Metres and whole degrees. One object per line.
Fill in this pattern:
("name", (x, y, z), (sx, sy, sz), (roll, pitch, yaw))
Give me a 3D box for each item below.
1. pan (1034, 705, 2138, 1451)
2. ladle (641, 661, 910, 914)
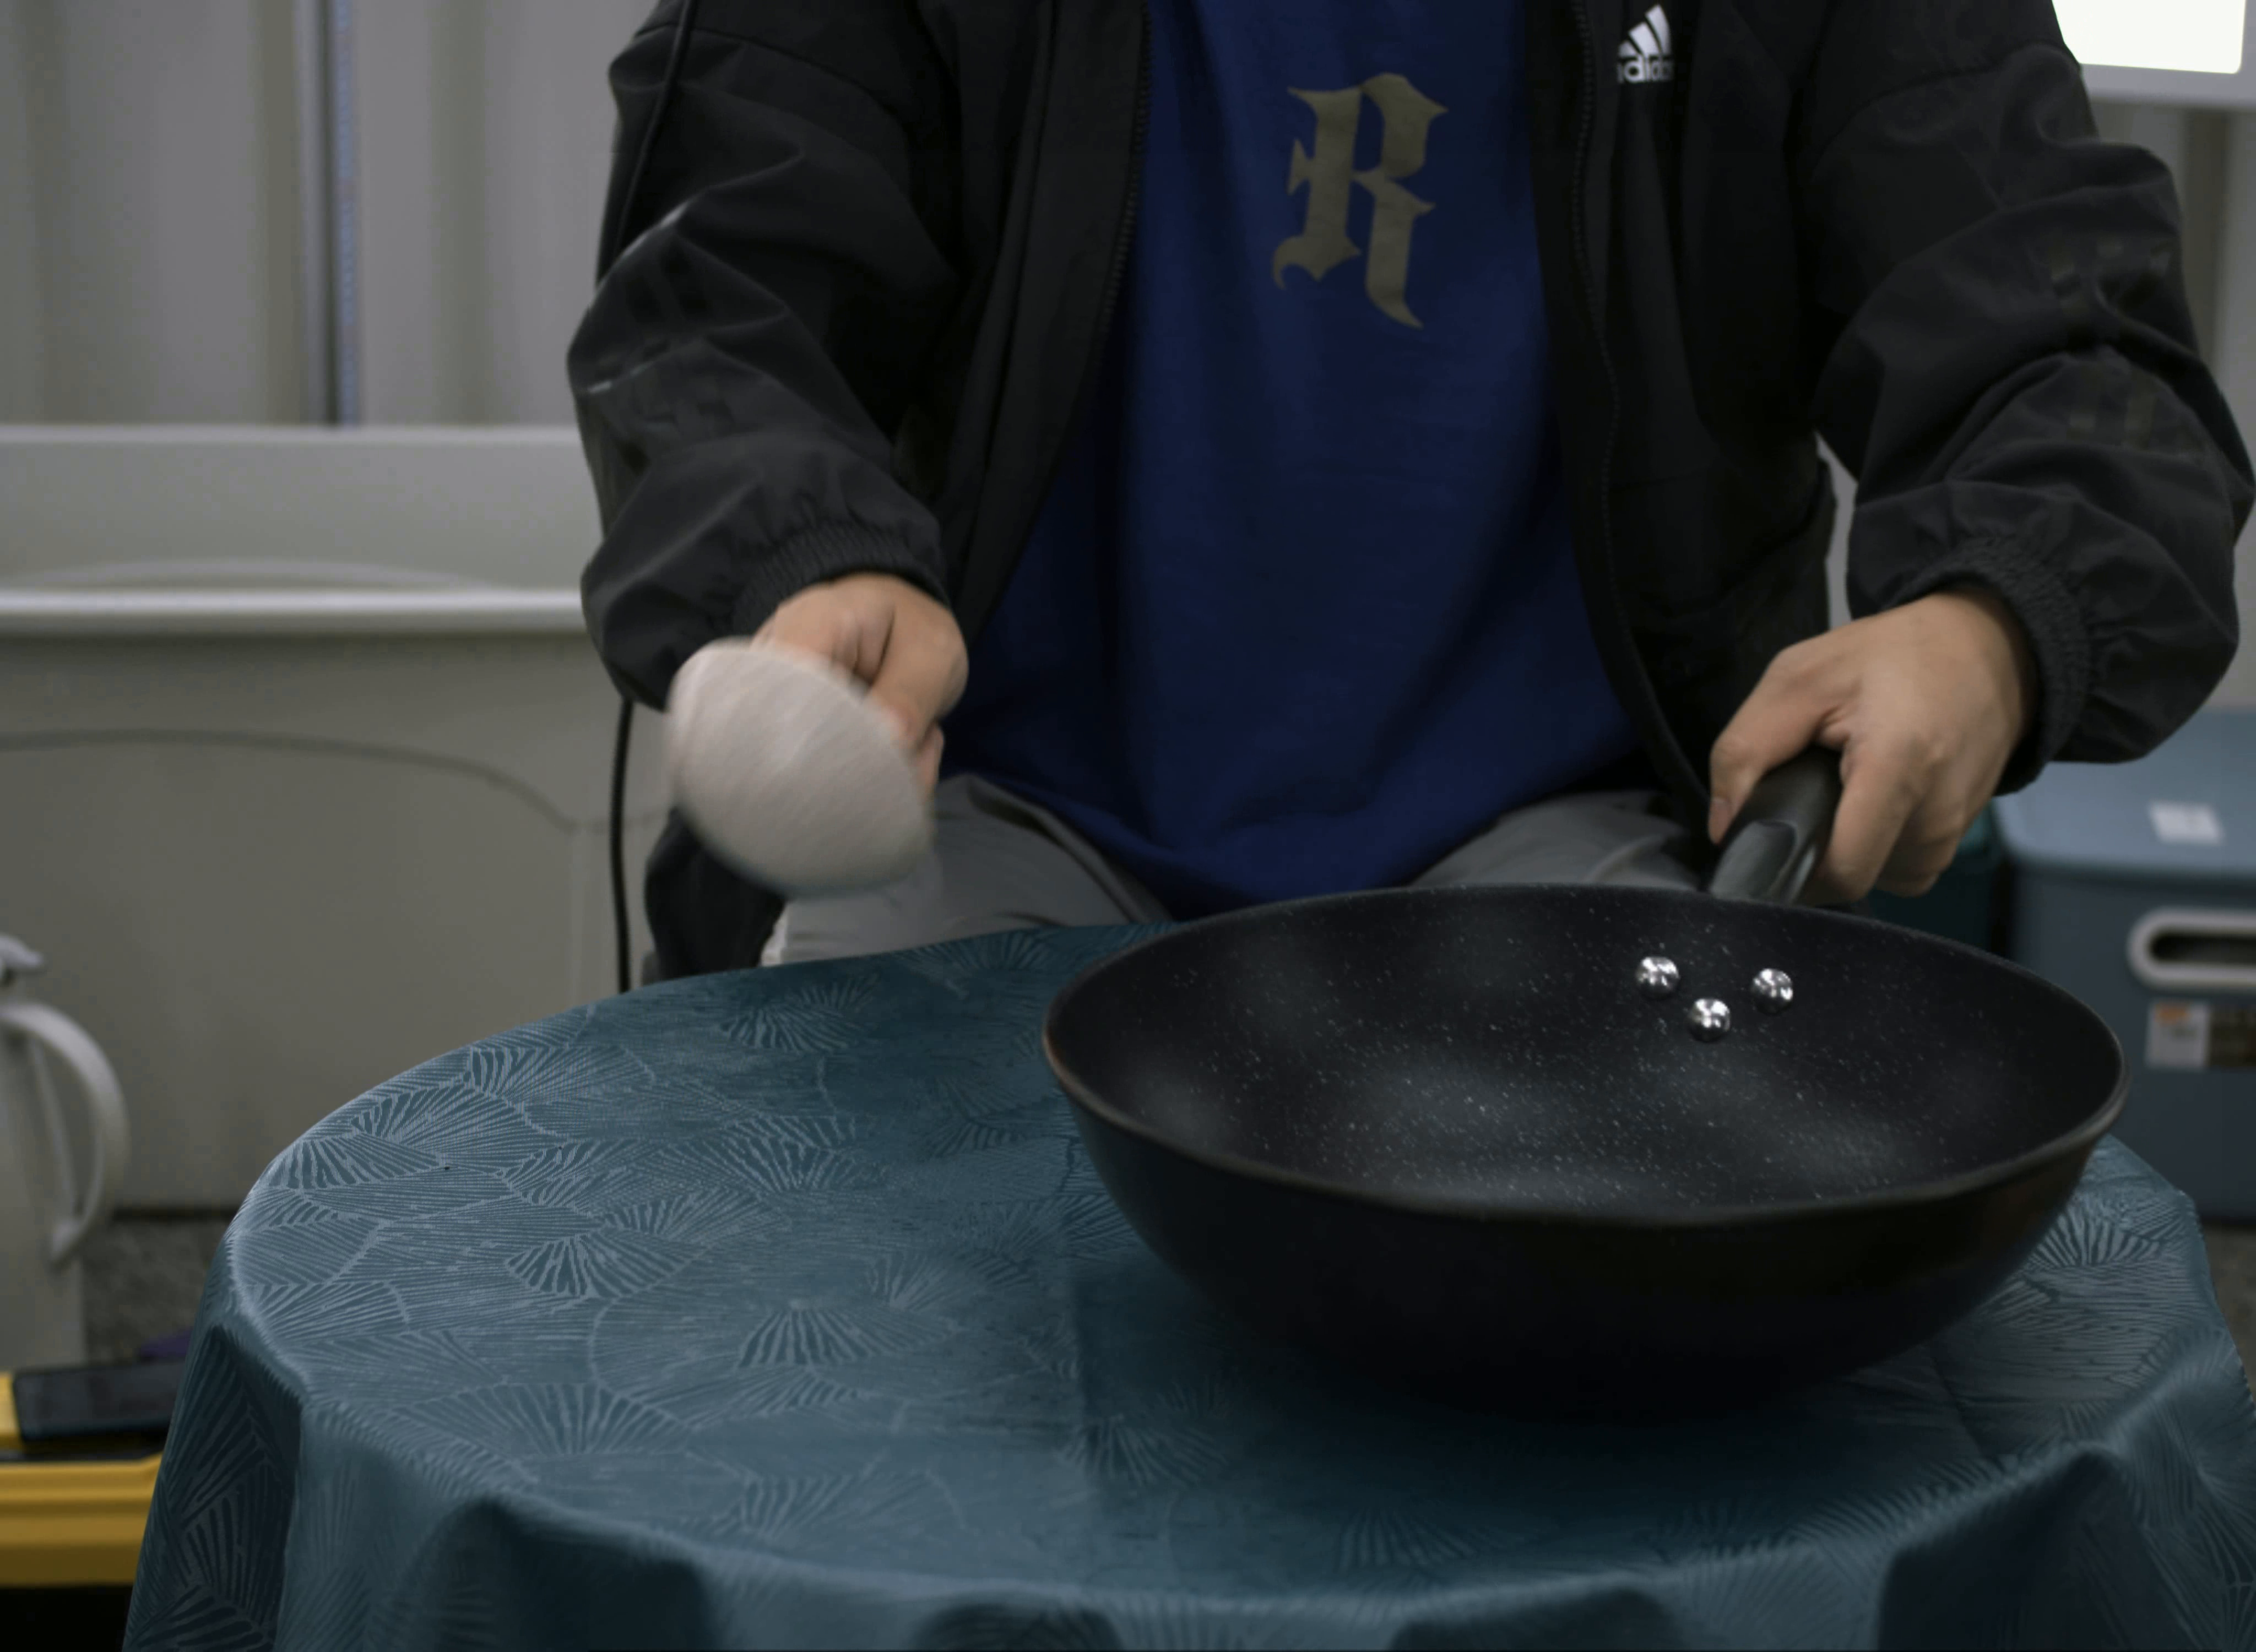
("pan", (0.158, 0.072, 1.564), (0.307, 0.112, 0.477), (8, 18, 20))
("ladle", (-0.085, -0.026, 1.609), (0.089, 0.069, 0.275), (34, 12, 3))
